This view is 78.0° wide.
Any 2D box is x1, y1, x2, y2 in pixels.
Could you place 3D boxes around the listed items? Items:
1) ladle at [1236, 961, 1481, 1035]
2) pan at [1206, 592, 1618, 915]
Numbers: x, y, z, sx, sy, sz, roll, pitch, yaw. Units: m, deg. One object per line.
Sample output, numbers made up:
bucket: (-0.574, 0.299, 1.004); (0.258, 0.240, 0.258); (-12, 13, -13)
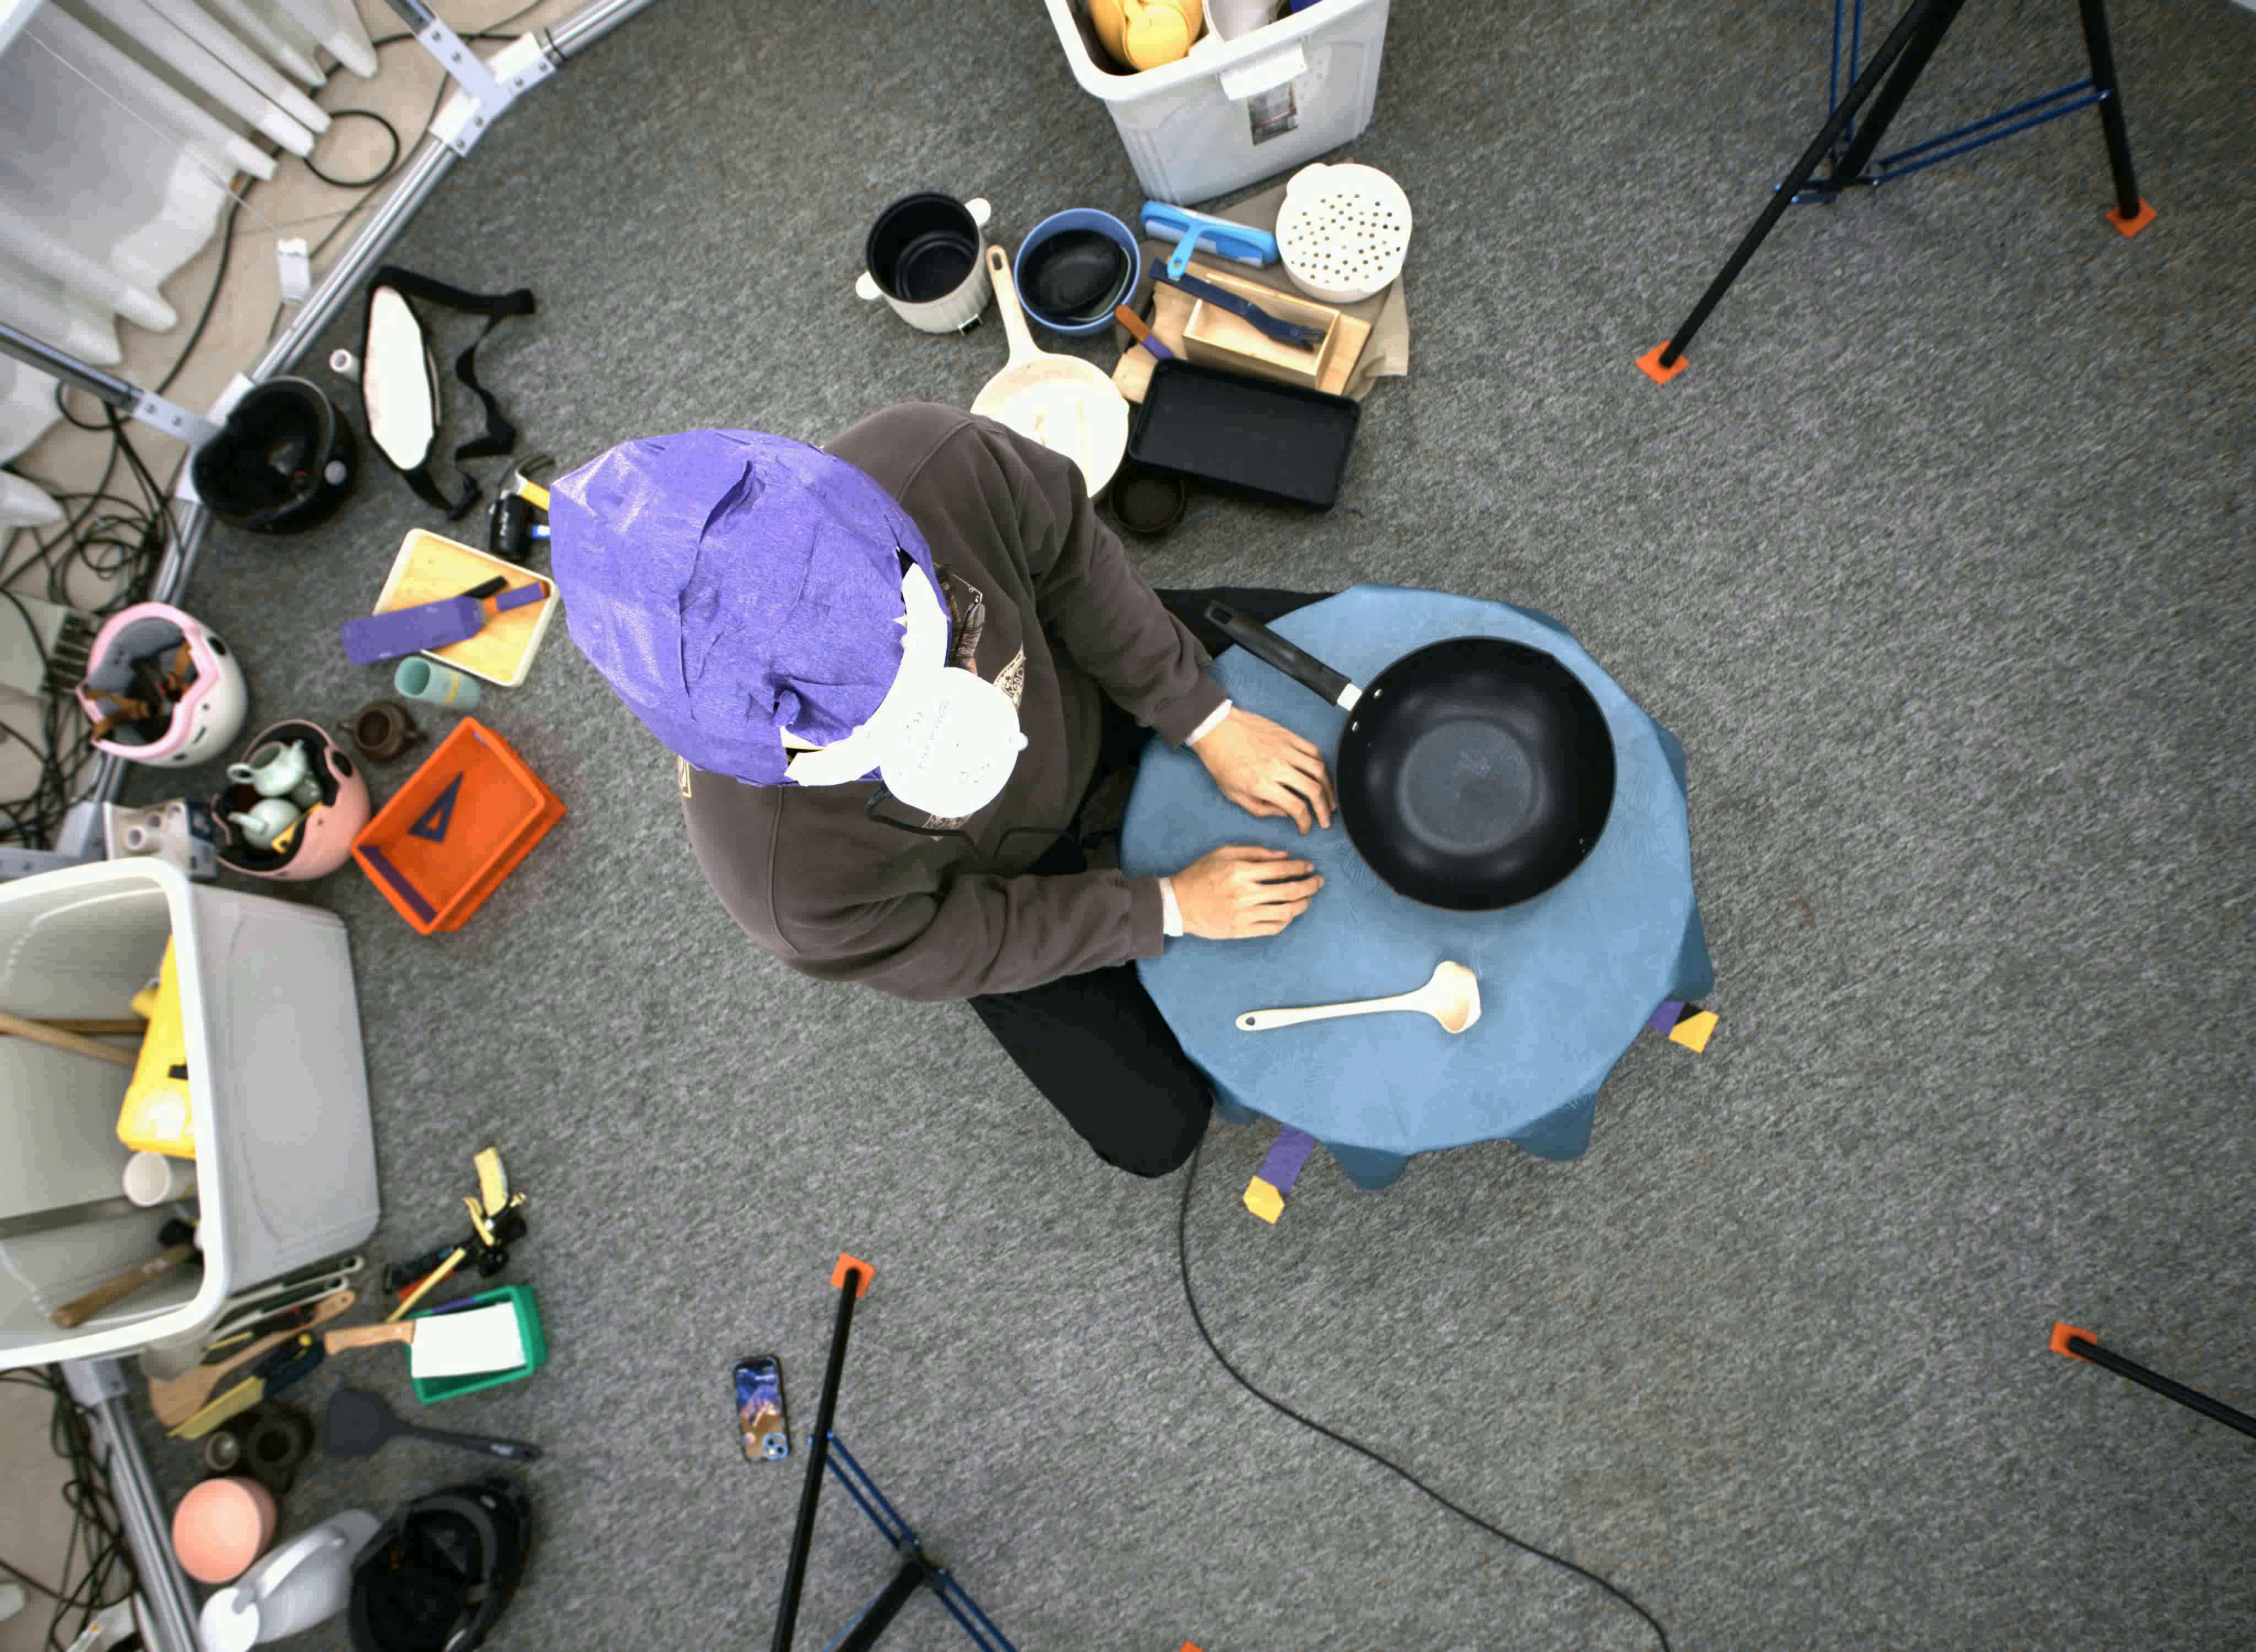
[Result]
ladle: (0.233, 0.190, 1.422); (0.256, 0.072, 0.072); (-11, 89, 10)
pan: (0.276, -0.099, 1.422); (0.462, 0.087, 0.289); (34, 94, 11)
